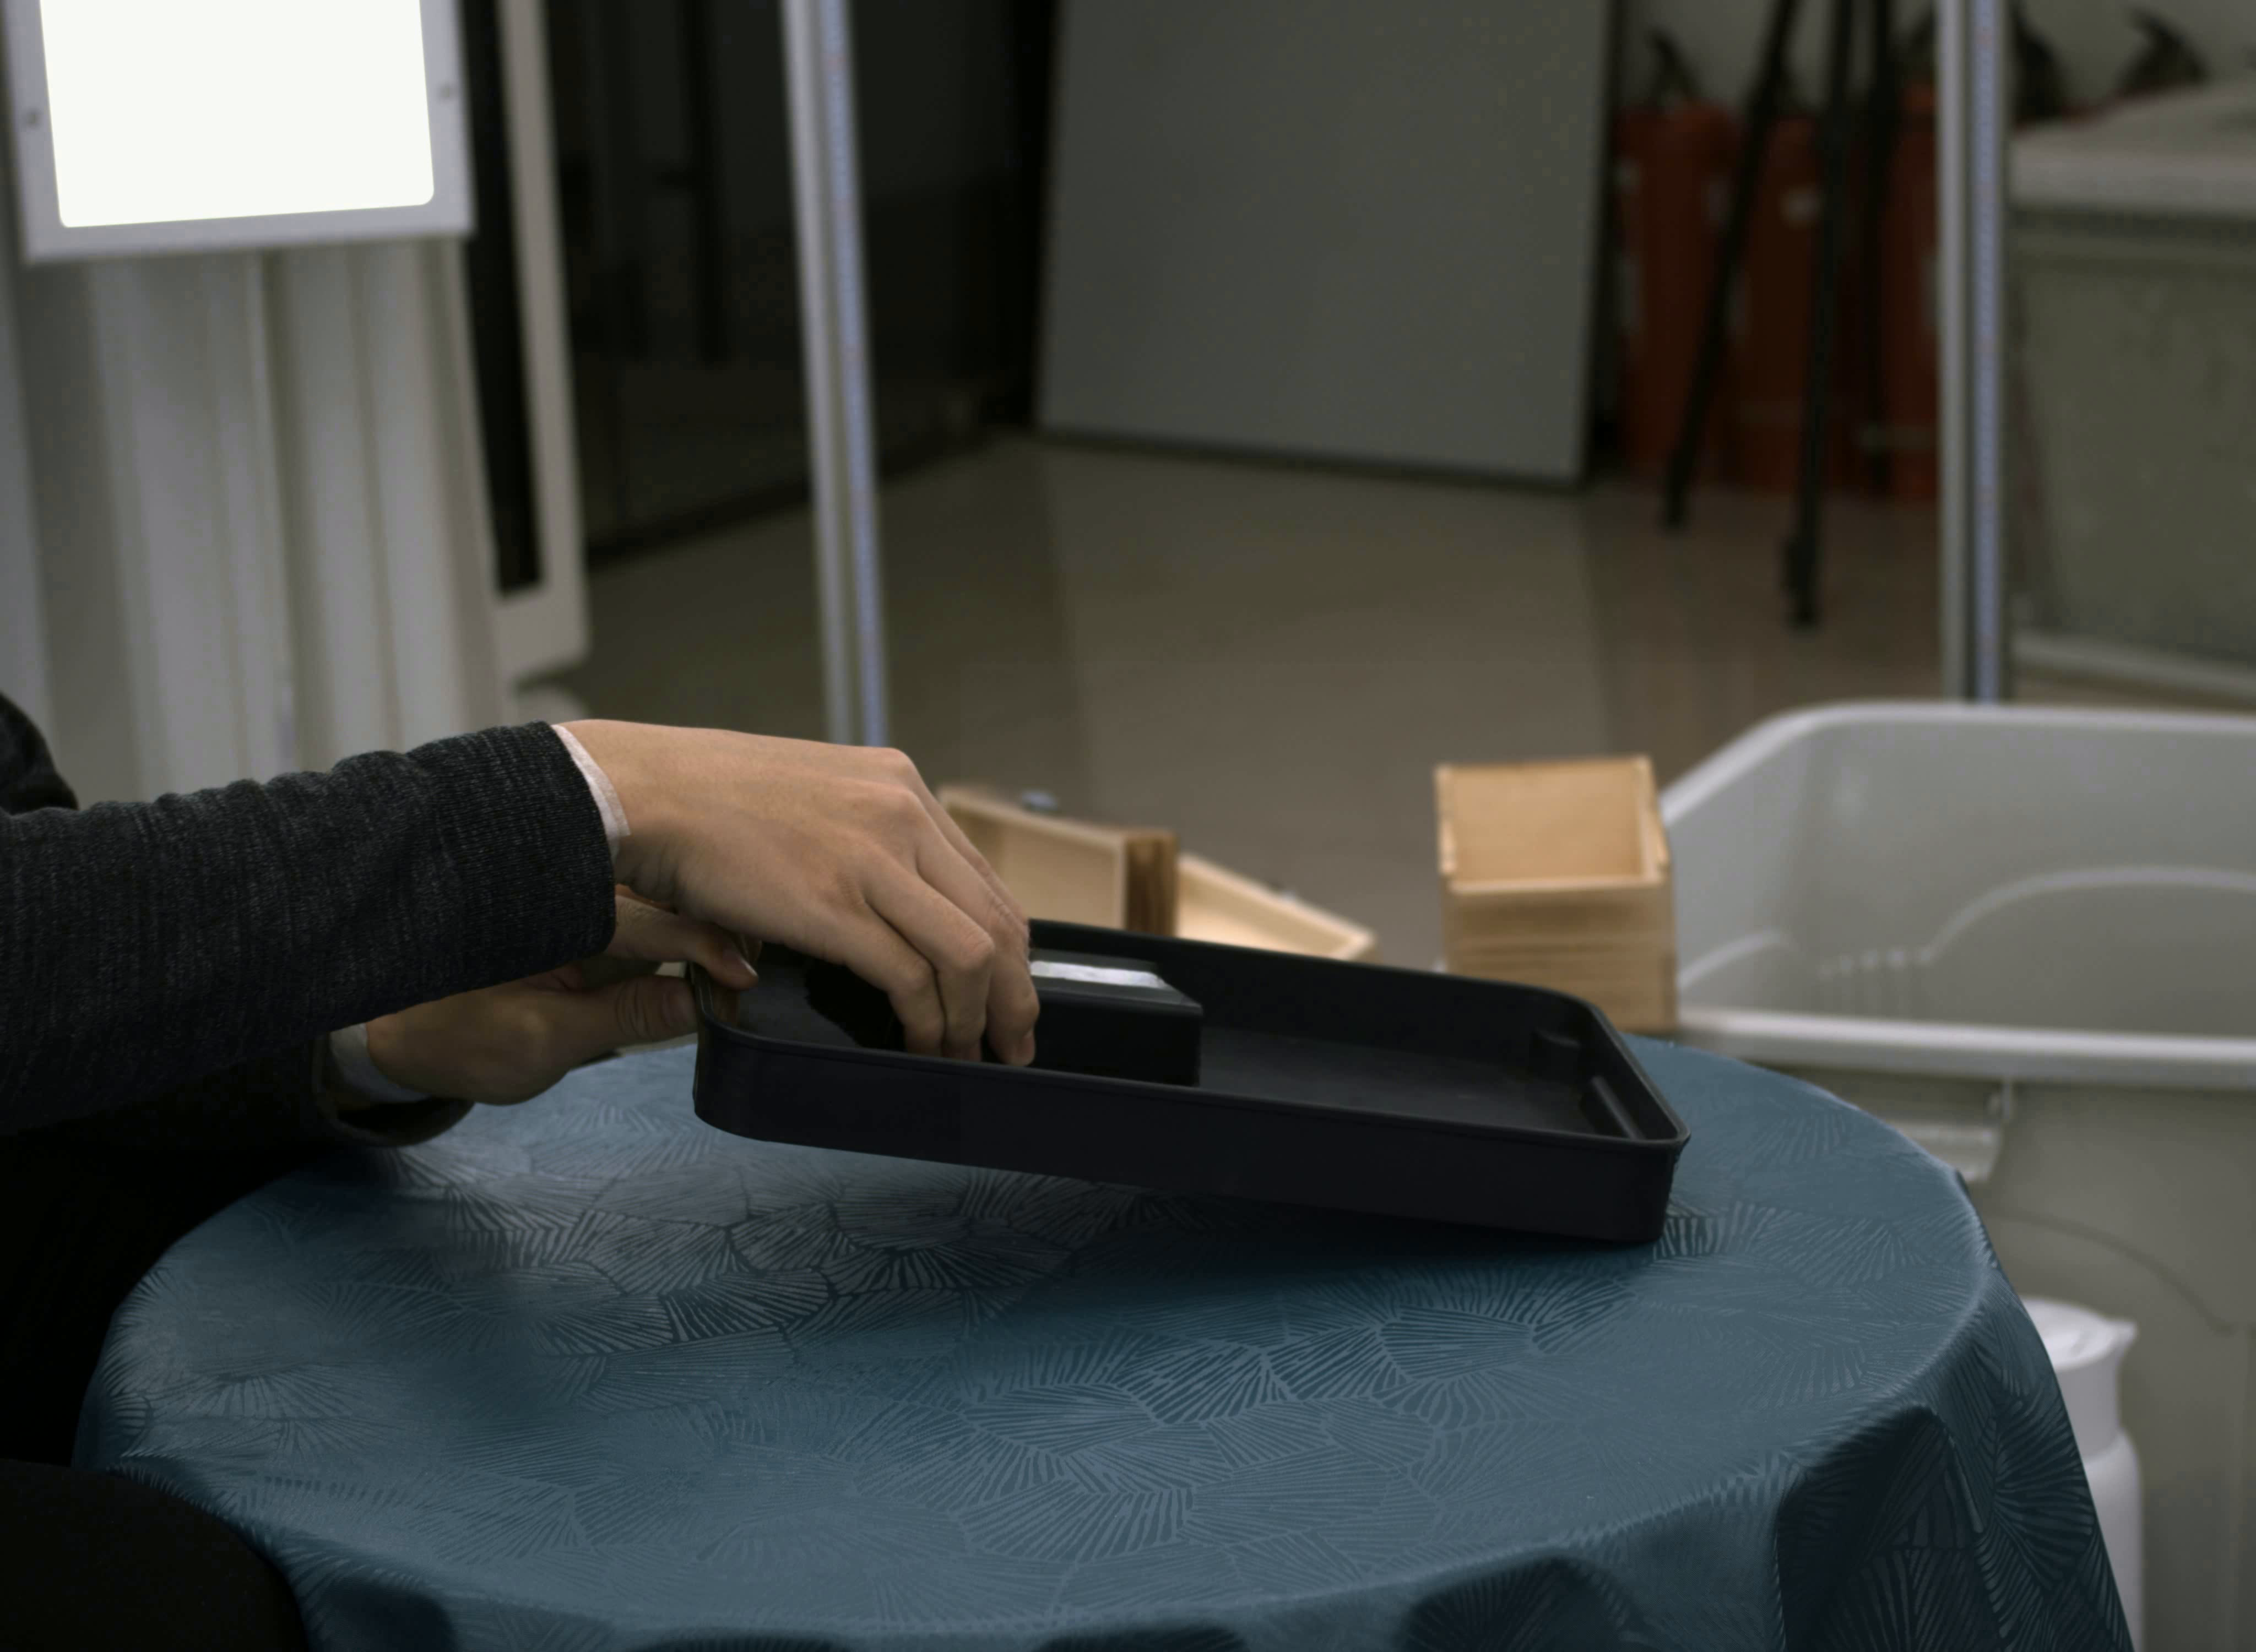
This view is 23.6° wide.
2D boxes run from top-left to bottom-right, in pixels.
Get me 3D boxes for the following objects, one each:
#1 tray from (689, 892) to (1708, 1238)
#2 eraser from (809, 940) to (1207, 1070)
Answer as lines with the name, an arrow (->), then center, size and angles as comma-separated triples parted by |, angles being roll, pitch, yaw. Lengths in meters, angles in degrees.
tray -> 0.017, 0.076, 1.742 | 0.312, 0.037, 0.185 | 6, 13, -8
eraser -> -0.039, 0.060, 1.737 | 0.122, 0.031, 0.054 | 7, 12, -35
